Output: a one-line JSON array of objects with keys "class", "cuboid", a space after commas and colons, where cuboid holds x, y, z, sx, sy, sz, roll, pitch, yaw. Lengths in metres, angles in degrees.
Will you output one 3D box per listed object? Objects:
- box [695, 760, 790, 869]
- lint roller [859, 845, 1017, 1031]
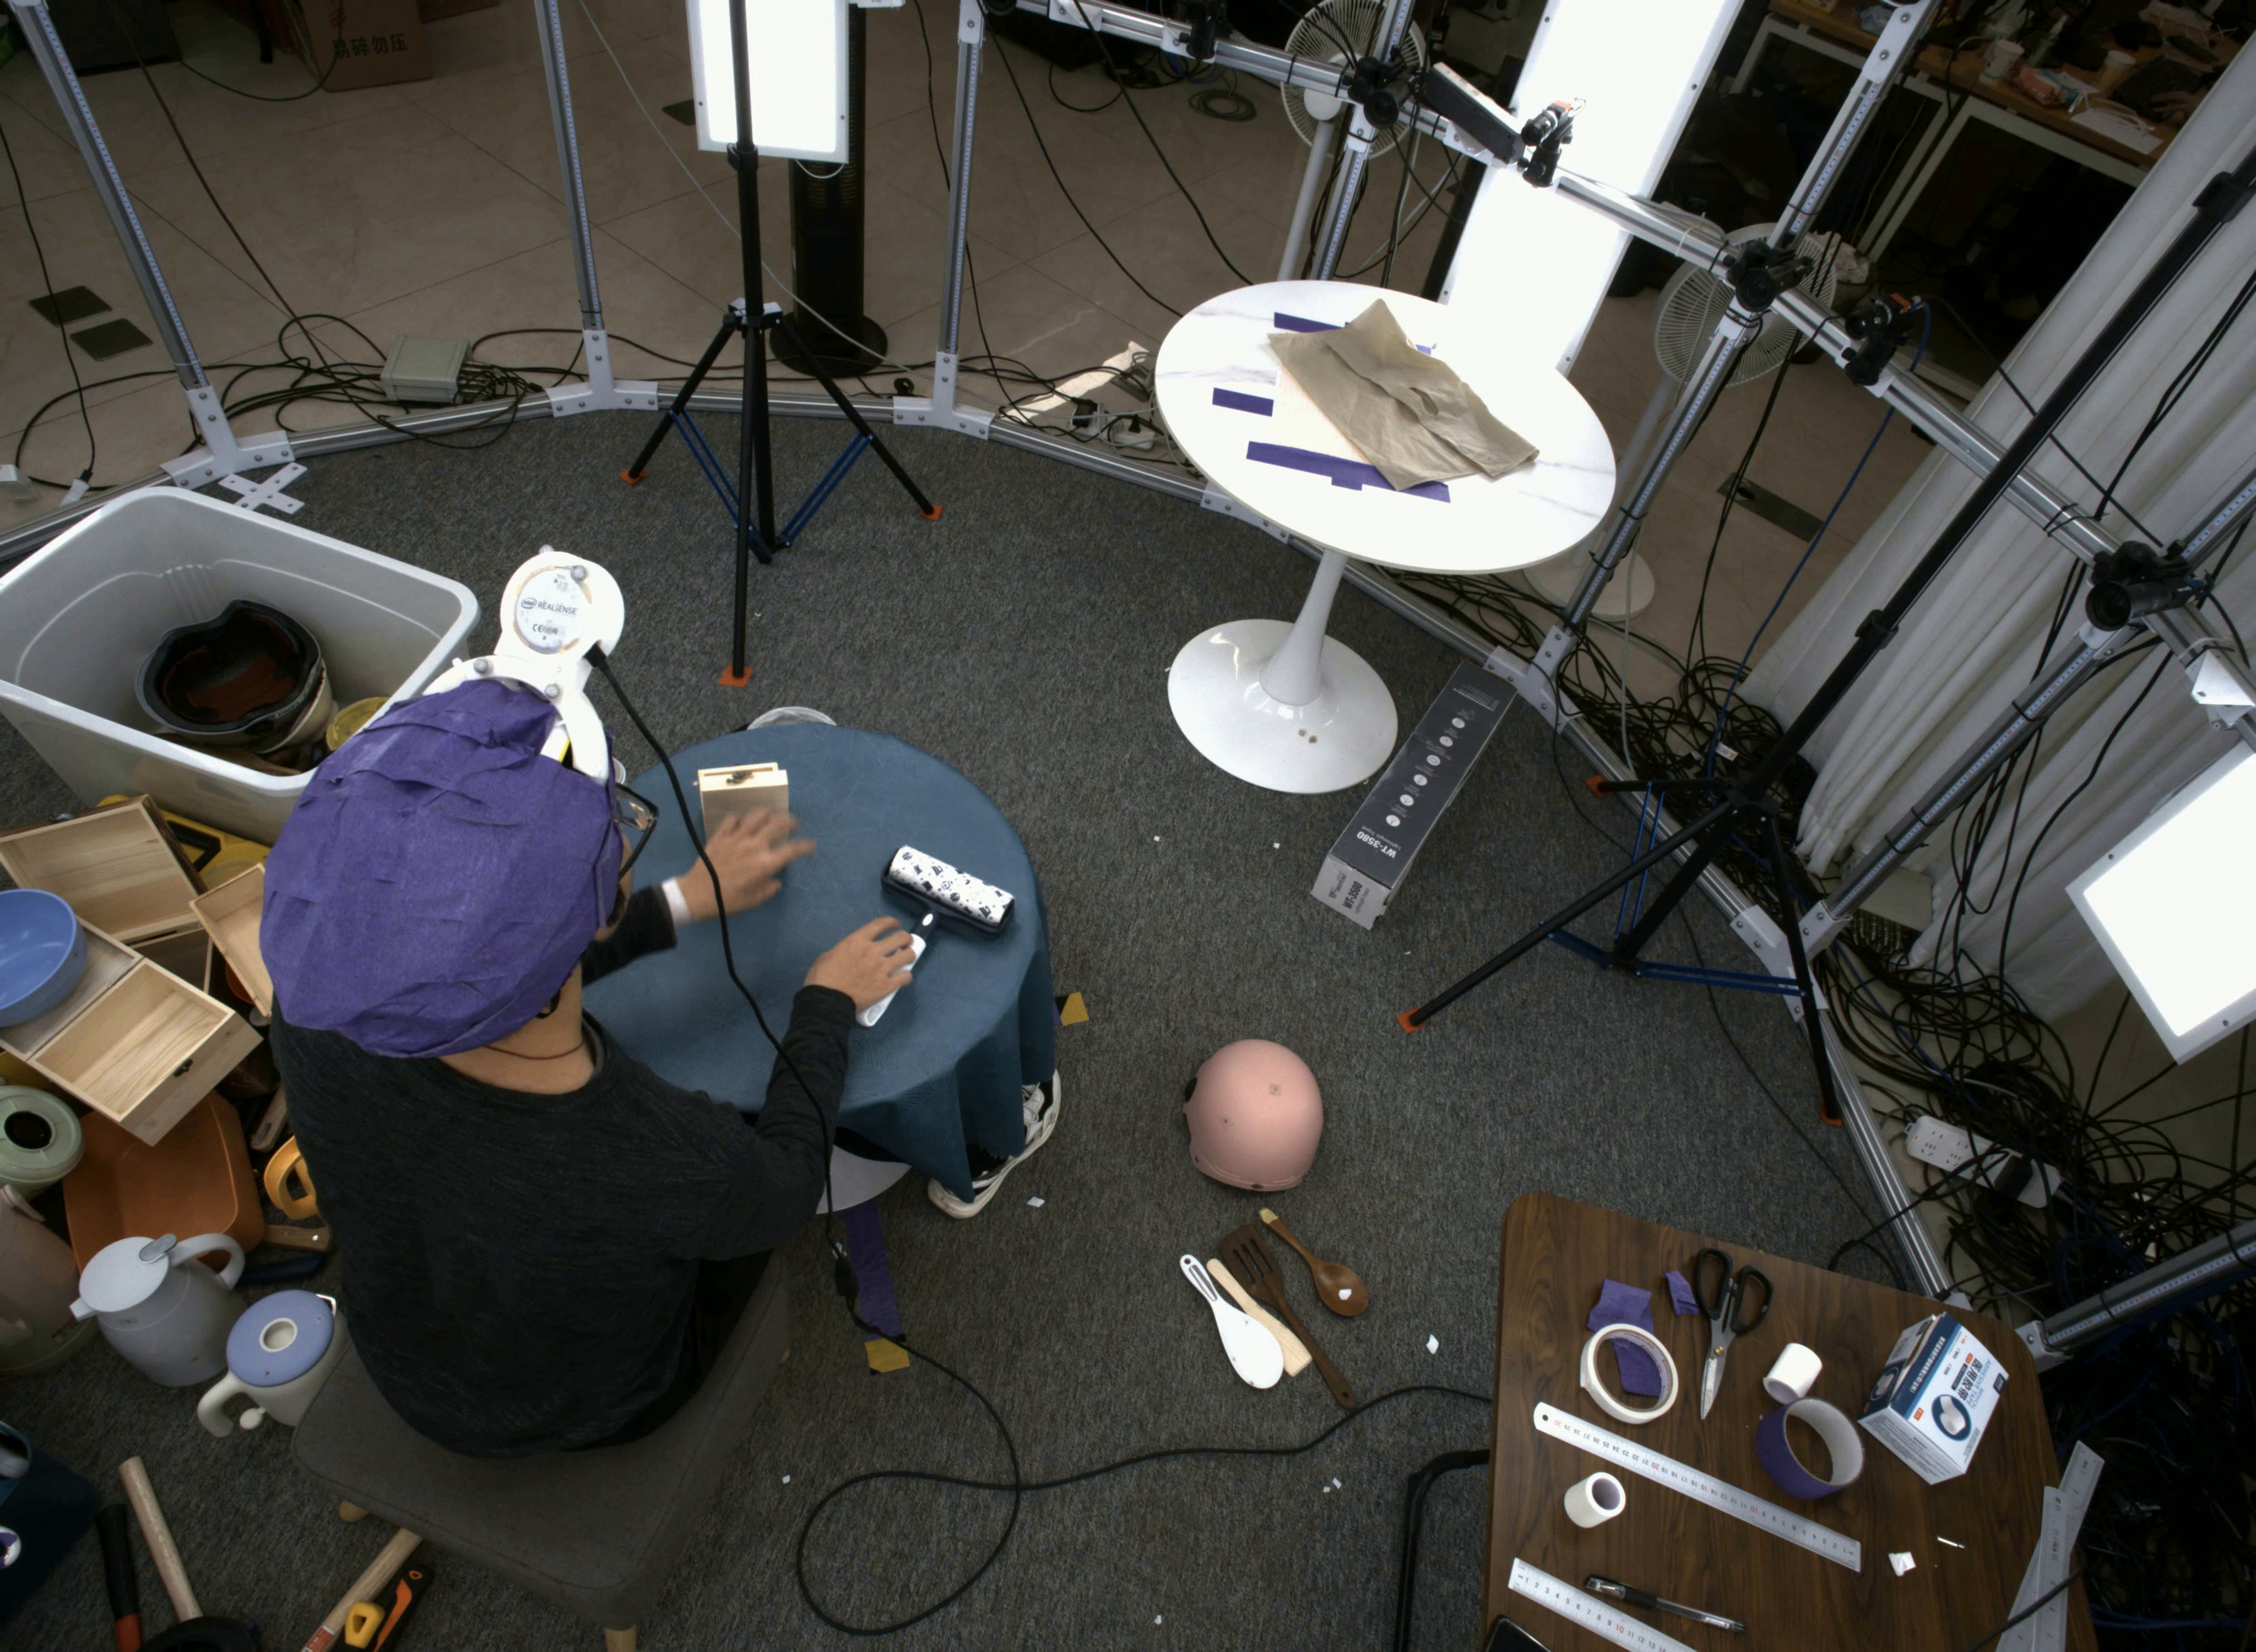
[{"class": "box", "cuboid": [-0.484, -0.042, 1.616, 0.103, 0.188, 0.131, -9, 56, -18]}, {"class": "lint roller", "cuboid": [-0.265, 0.147, 1.623, 0.174, 0.051, 0.245, 25, 53, 4]}]
